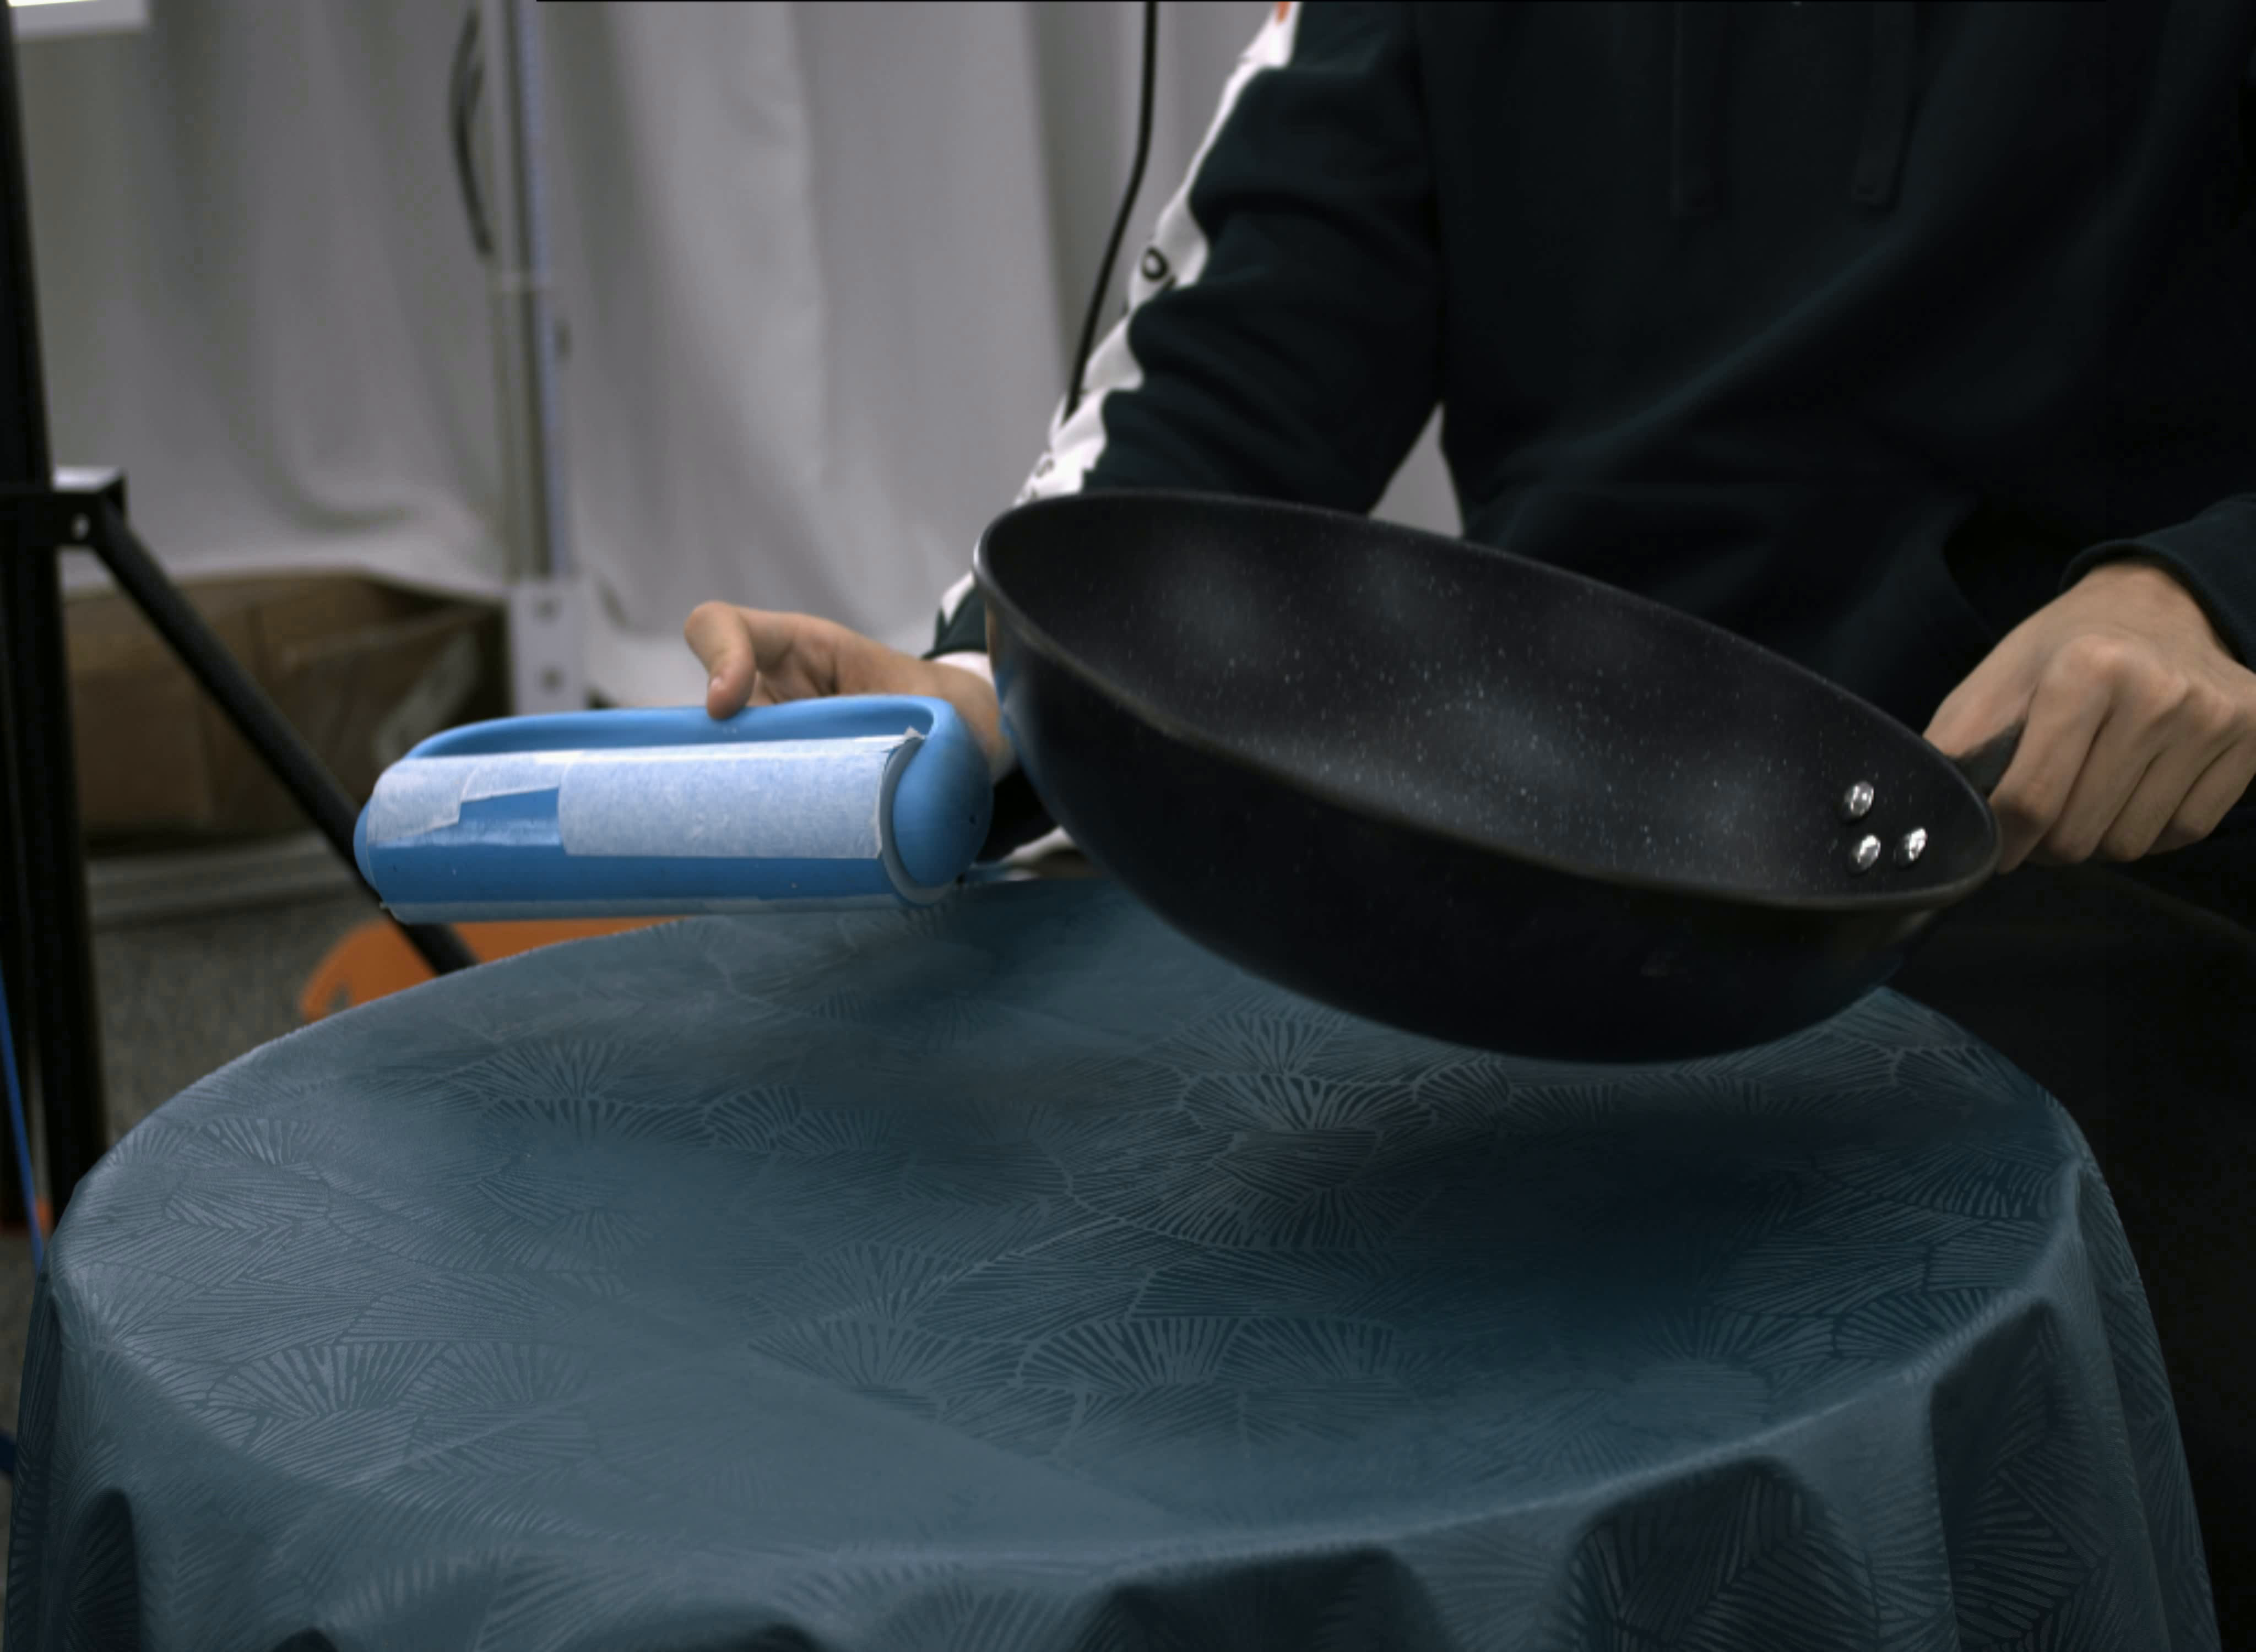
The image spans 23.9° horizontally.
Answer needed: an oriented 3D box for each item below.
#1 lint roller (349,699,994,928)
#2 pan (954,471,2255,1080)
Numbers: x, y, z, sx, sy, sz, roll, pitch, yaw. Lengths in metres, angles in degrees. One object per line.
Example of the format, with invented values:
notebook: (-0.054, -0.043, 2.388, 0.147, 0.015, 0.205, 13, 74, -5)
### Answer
lint roller: (-0.121, -0.008, 1.722, 0.232, 0.068, 0.177, -4, 7, 27)
pan: (0.166, -0.004, 1.564, 0.466, 0.112, 0.316, 8, 21, -23)
